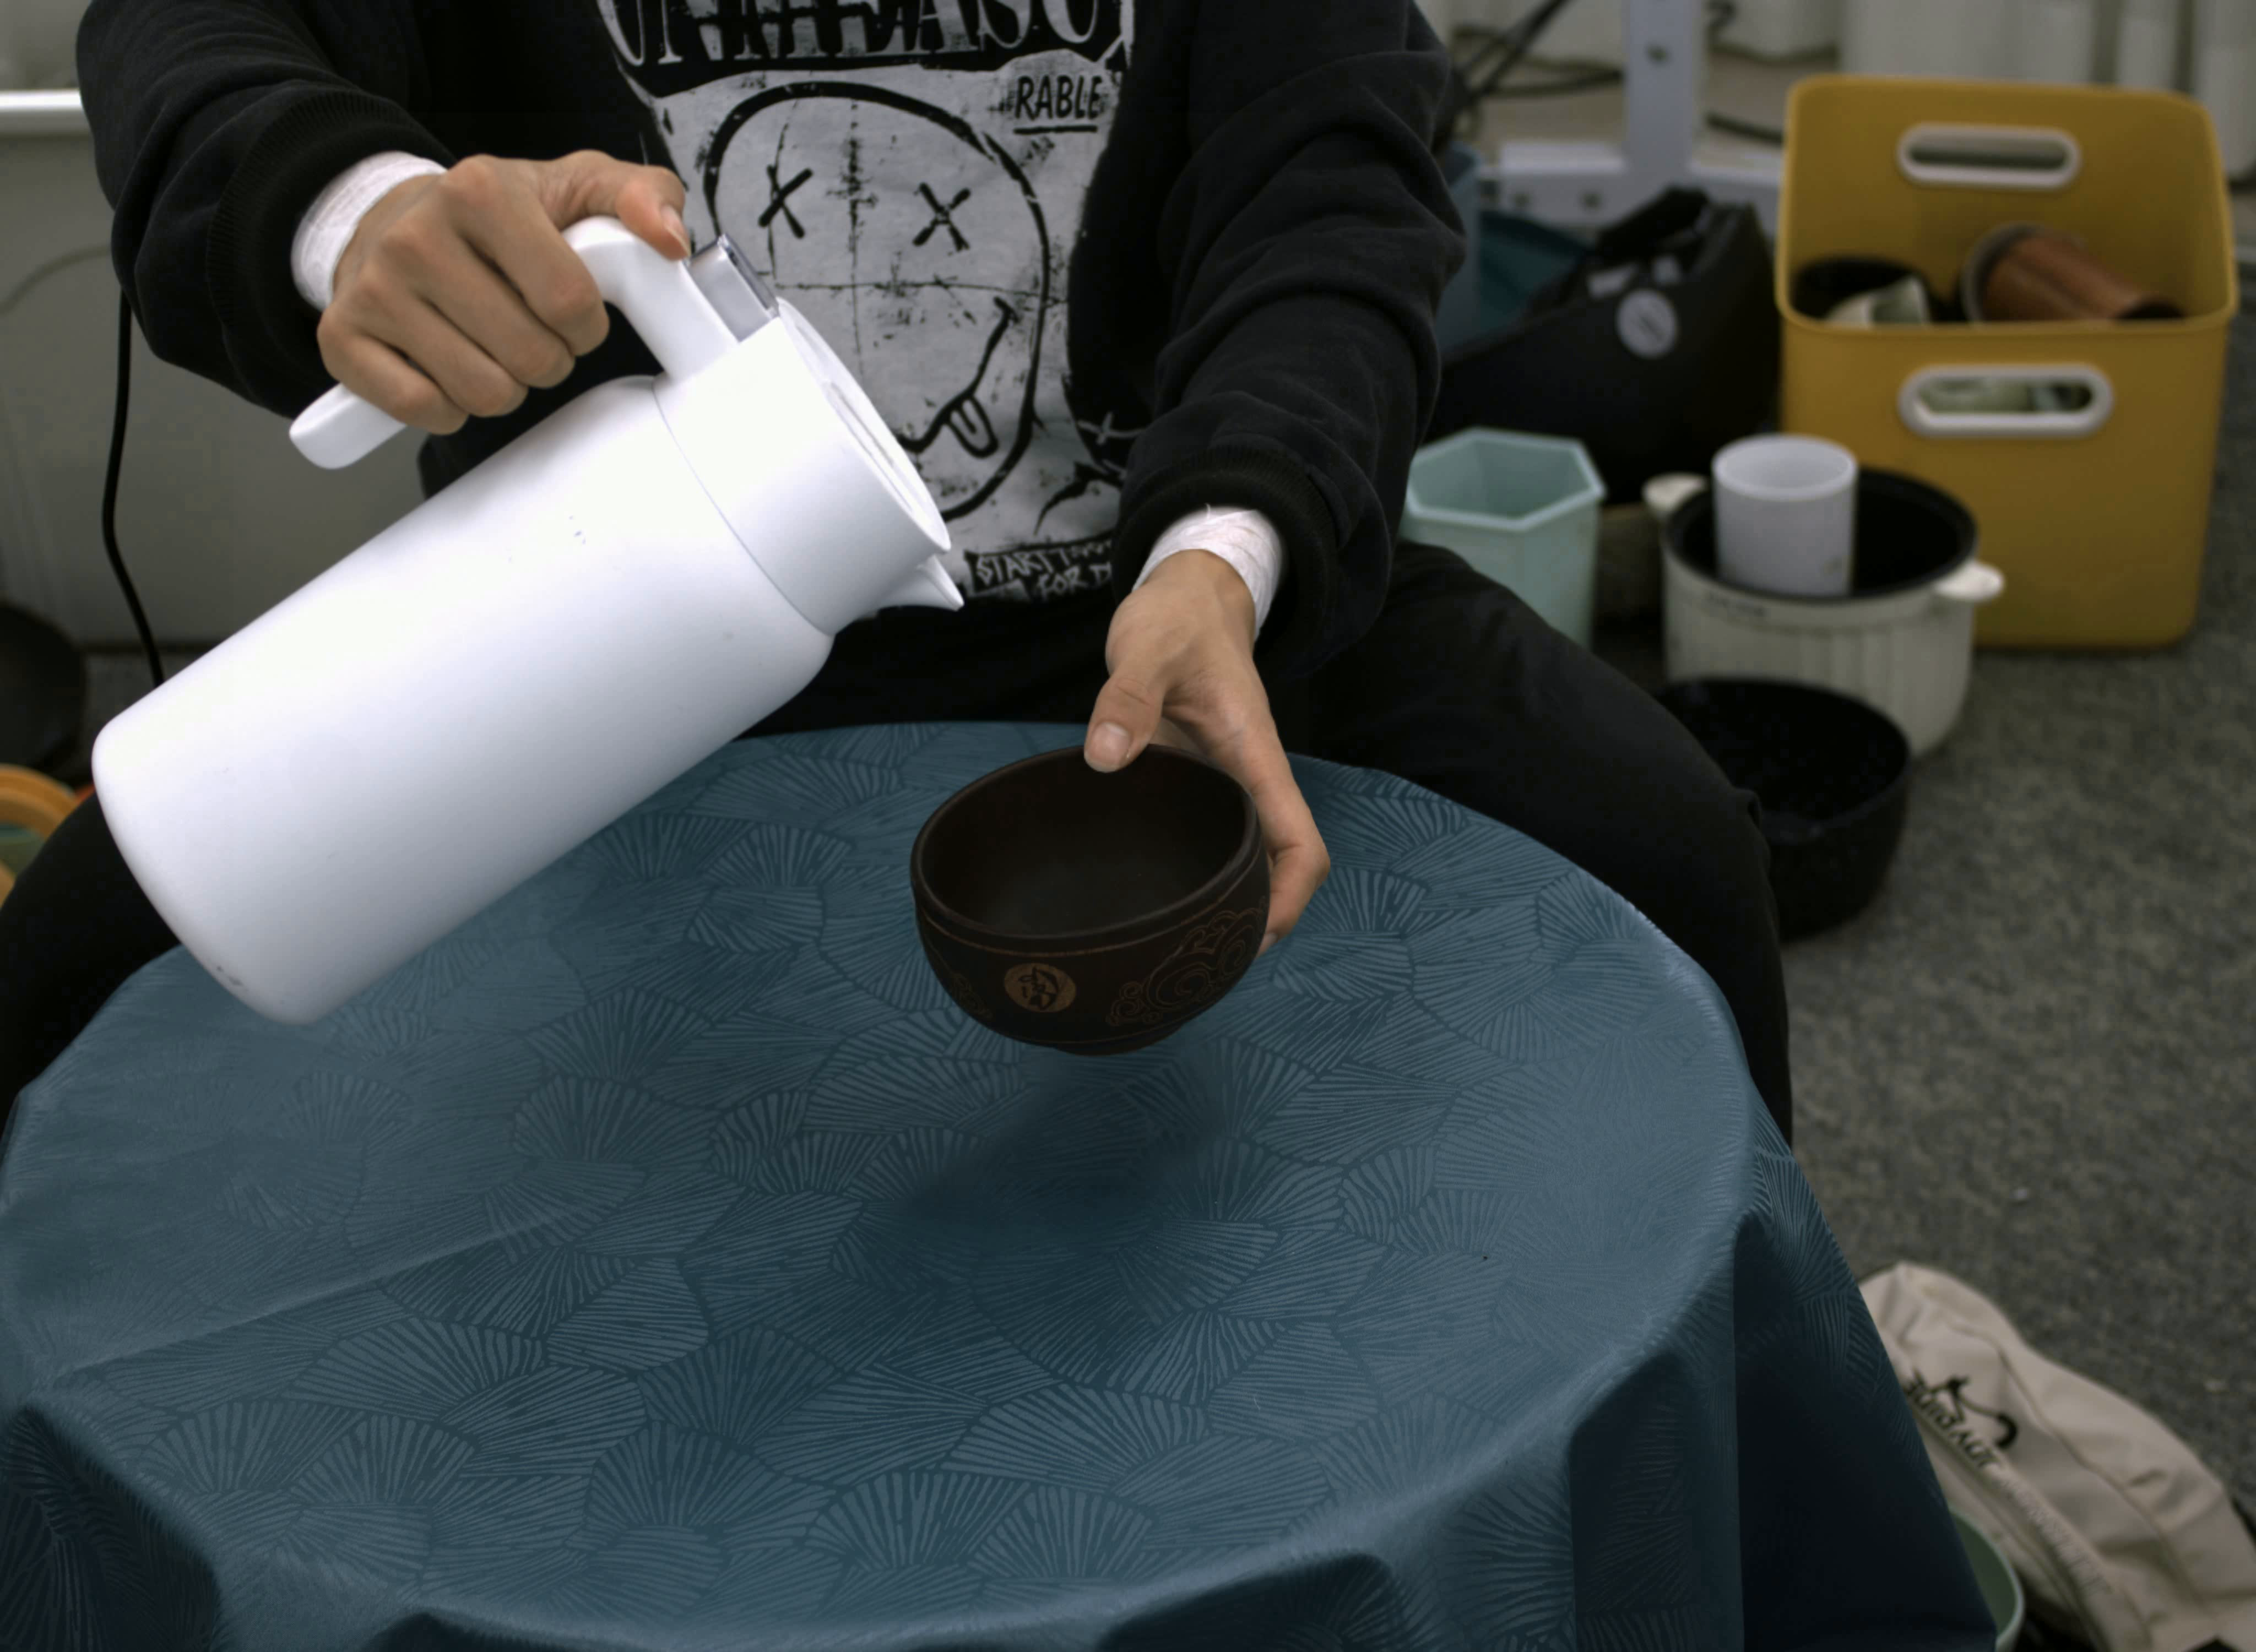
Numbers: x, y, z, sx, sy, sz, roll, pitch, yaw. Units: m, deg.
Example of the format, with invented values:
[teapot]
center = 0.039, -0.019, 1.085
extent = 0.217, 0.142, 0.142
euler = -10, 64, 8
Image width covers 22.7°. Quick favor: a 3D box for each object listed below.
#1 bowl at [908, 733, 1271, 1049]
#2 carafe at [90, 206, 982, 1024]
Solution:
[bowl]
center = -0.010, 0.029, 1.842
extent = 0.117, 0.069, 0.120
euler = -7, 31, 5
[carafe]
center = -0.200, -0.067, 1.775
extent = 0.267, 0.172, 0.125
euler = -34, 21, 7
